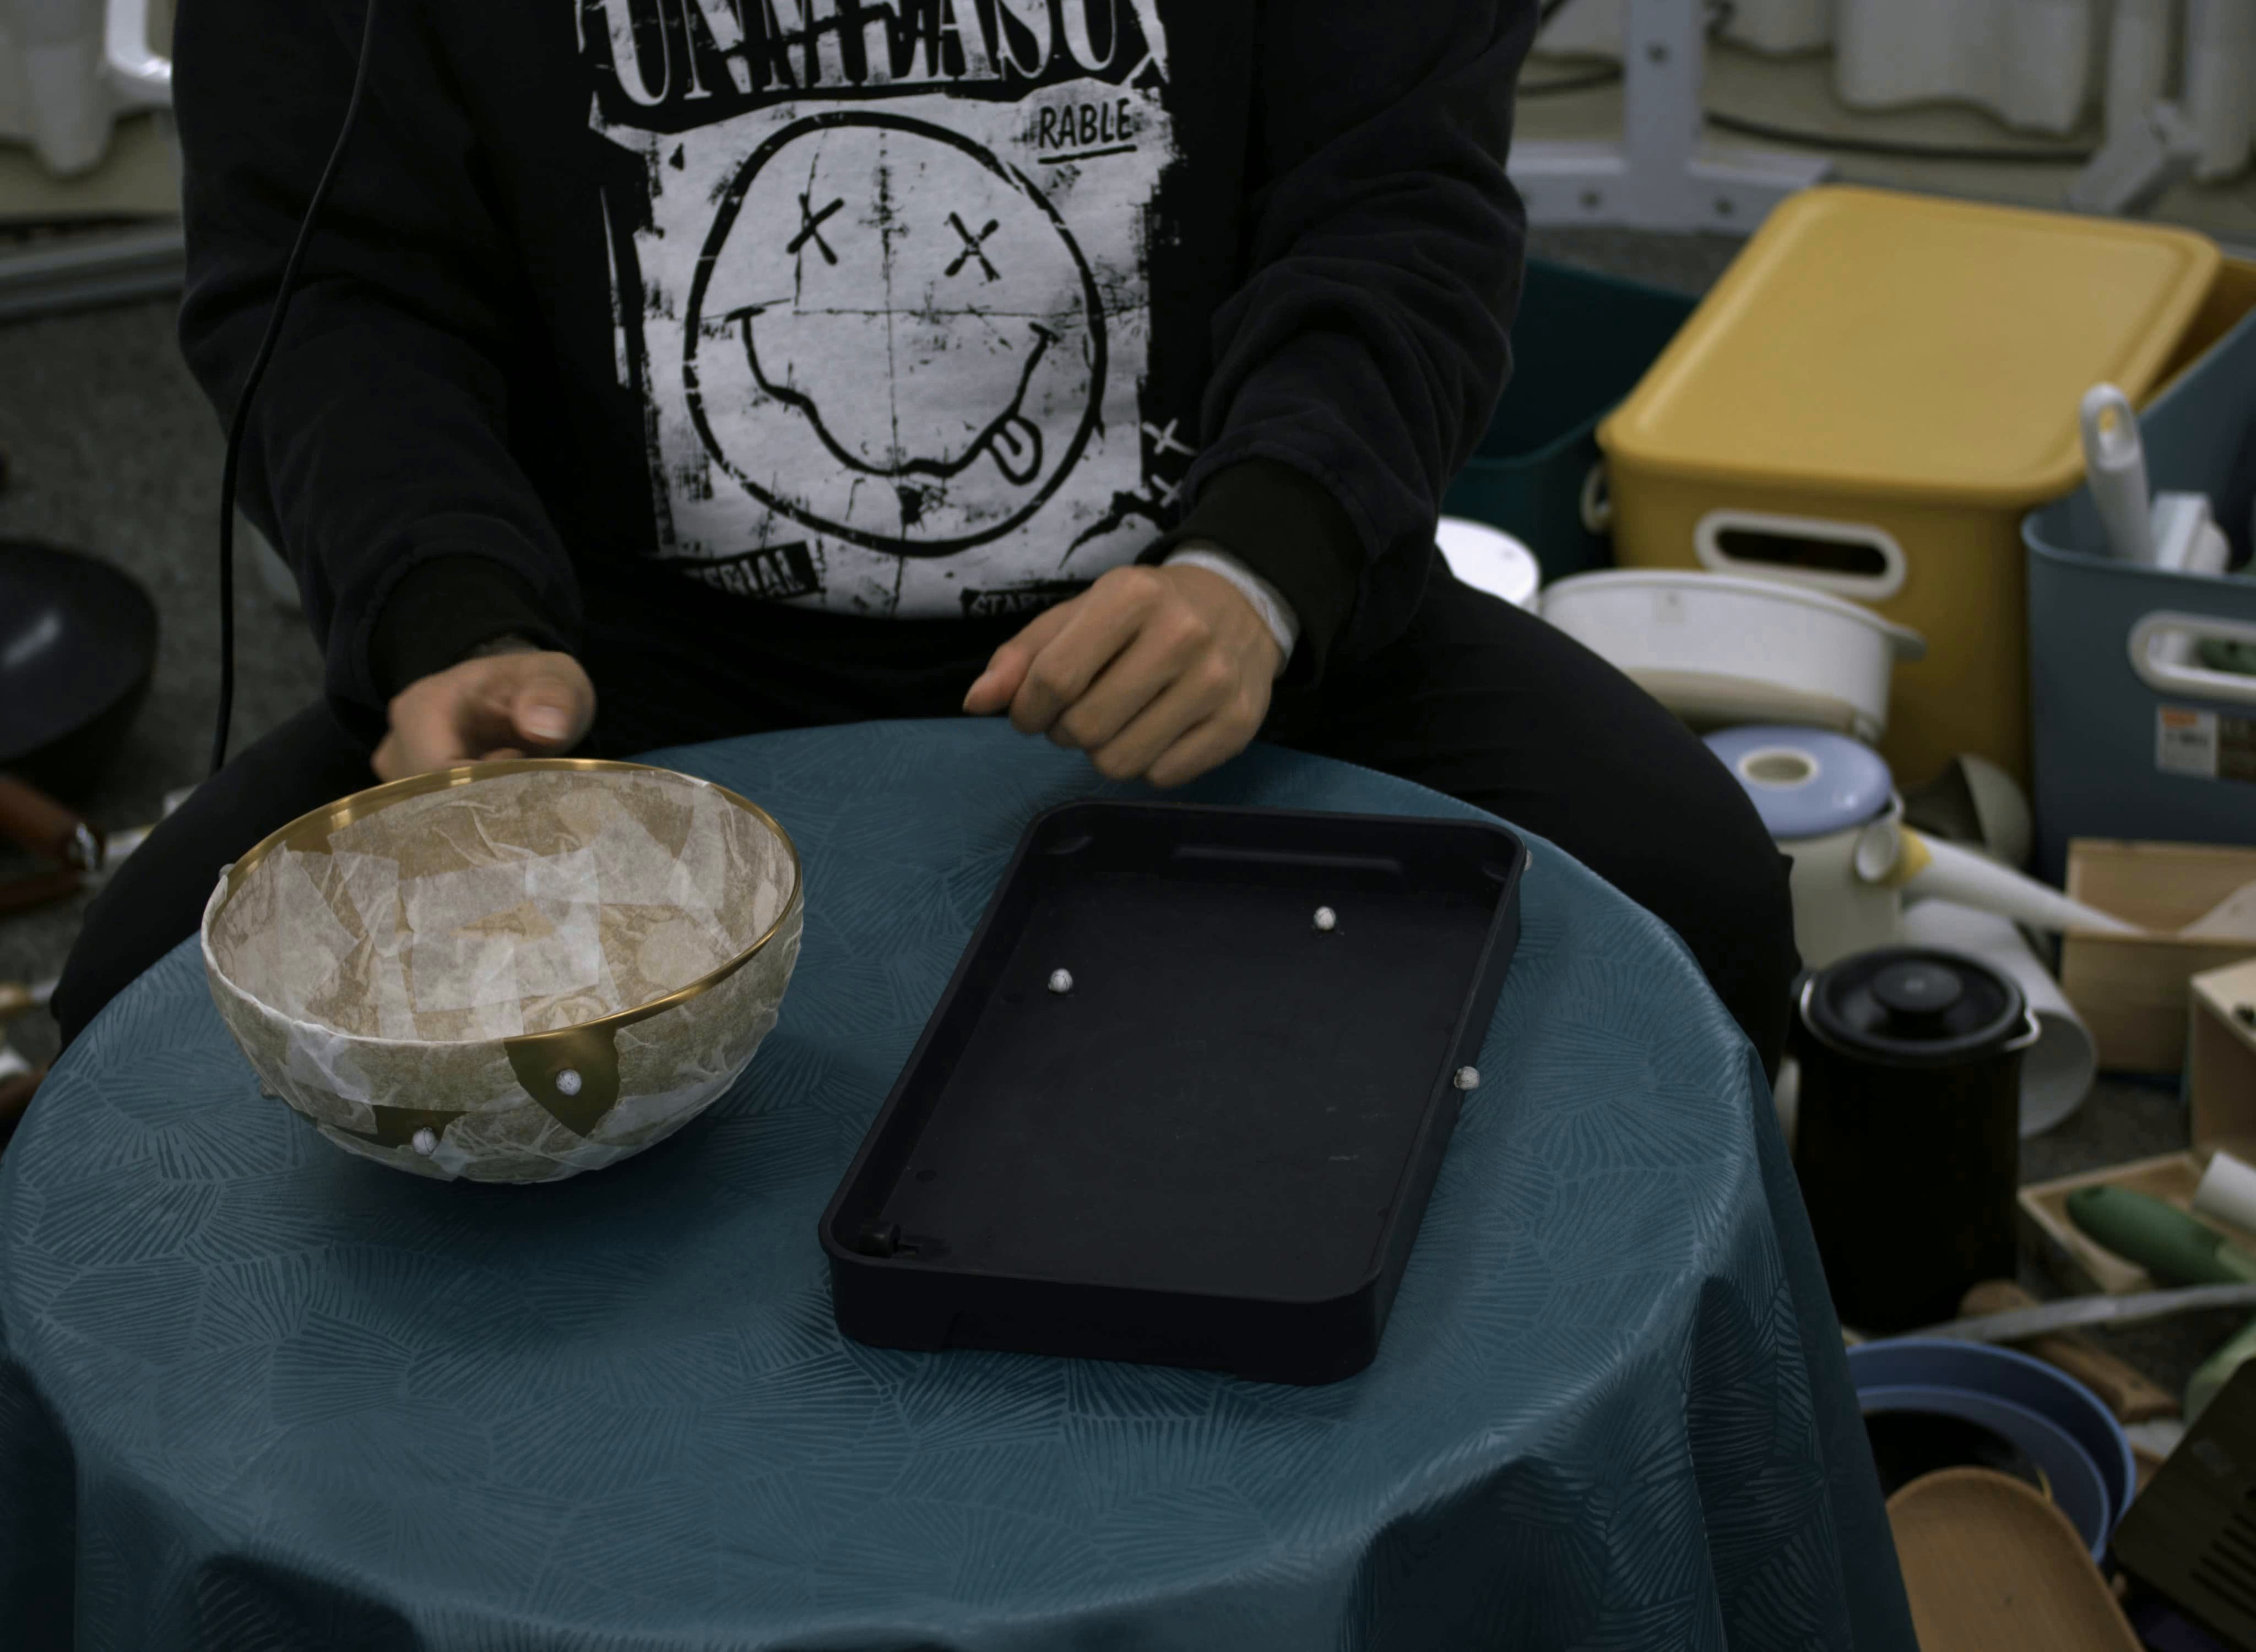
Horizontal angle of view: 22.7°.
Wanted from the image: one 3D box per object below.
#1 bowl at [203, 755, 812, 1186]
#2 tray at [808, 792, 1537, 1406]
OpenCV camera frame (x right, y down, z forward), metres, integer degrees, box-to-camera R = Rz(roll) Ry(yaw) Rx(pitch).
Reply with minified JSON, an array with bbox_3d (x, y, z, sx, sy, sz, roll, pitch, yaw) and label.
[{"bbox_3d":[-0.202,0.061,1.899,0.213,0.093,0.218,-4,27,2],"label":"bowl"},{"bbox_3d":[0.022,0.085,1.897,0.183,0.036,0.323,5,30,14],"label":"tray"}]
